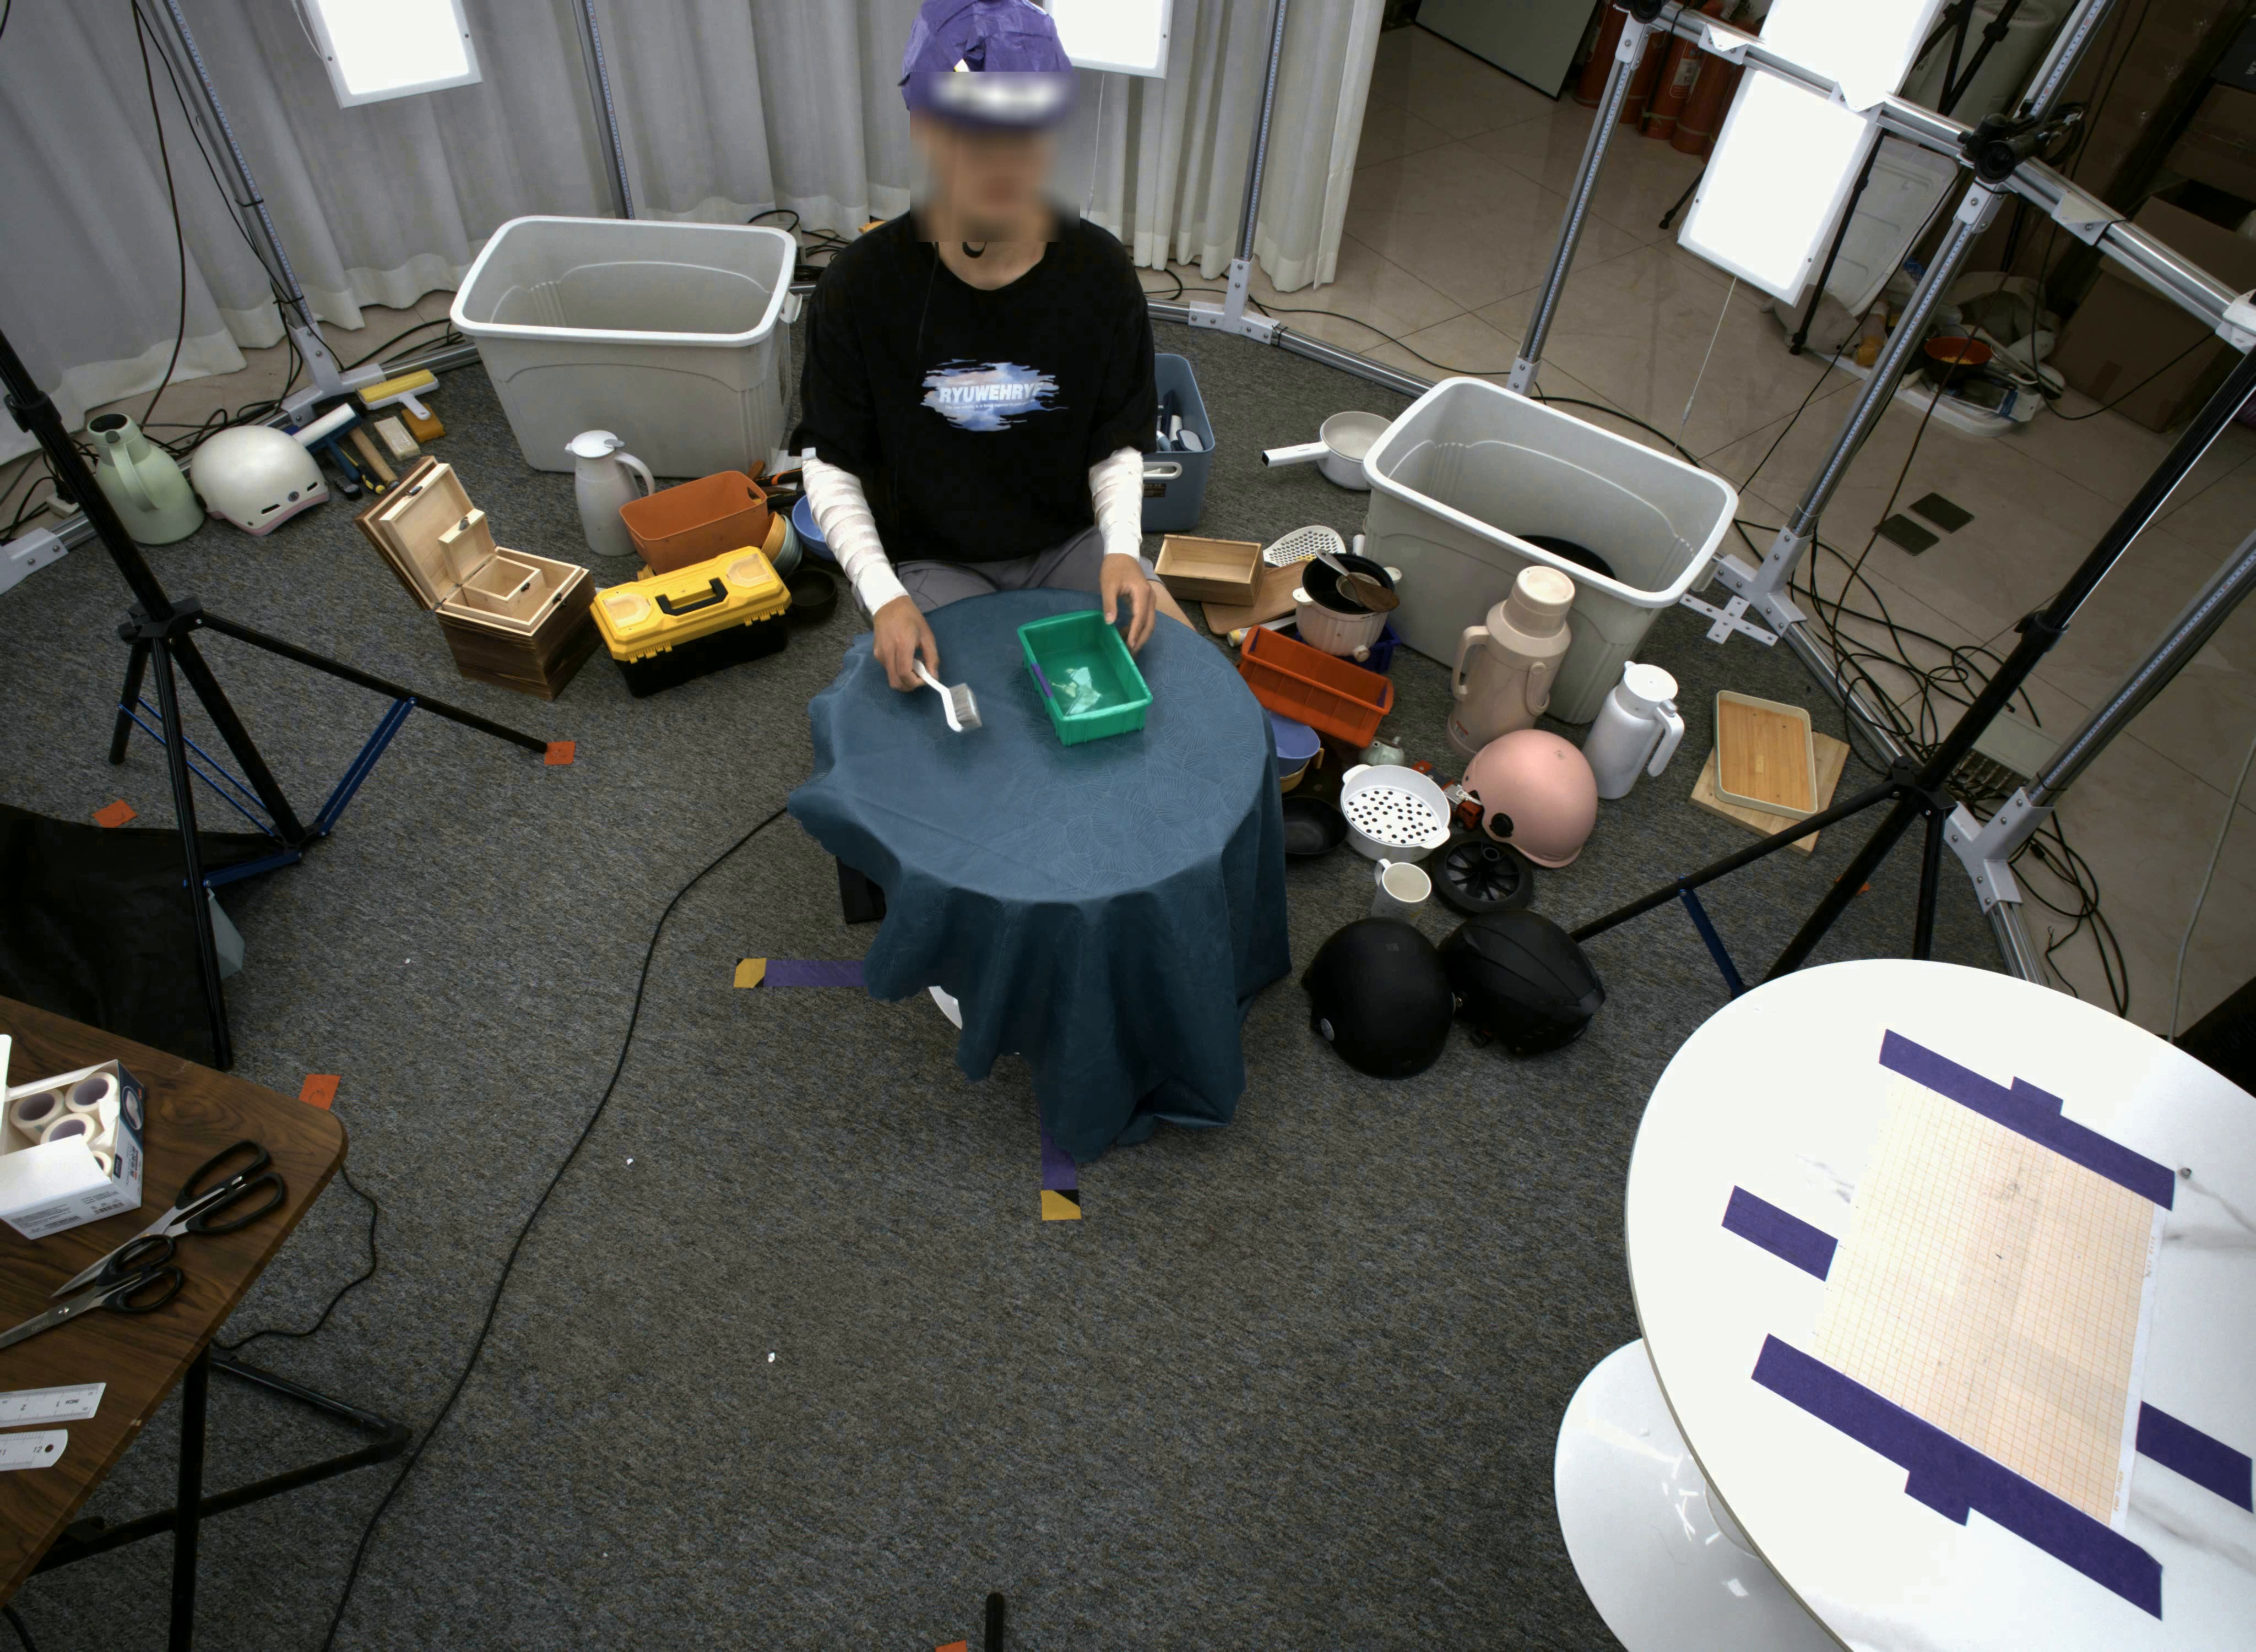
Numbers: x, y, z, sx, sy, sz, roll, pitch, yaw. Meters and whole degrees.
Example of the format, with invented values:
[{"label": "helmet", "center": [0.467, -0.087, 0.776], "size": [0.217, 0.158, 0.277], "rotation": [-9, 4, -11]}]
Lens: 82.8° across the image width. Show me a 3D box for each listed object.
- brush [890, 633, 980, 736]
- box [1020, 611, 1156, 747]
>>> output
[{"label": "brush", "center": [-0.266, -0.209, 1.784], "size": [0.050, 0.033, 0.249], "rotation": [-38, 50, 1]}, {"label": "box", "center": [-0.059, -0.206, 1.808], "size": [0.139, 0.064, 0.215], "rotation": [-16, 52, -14]}]
